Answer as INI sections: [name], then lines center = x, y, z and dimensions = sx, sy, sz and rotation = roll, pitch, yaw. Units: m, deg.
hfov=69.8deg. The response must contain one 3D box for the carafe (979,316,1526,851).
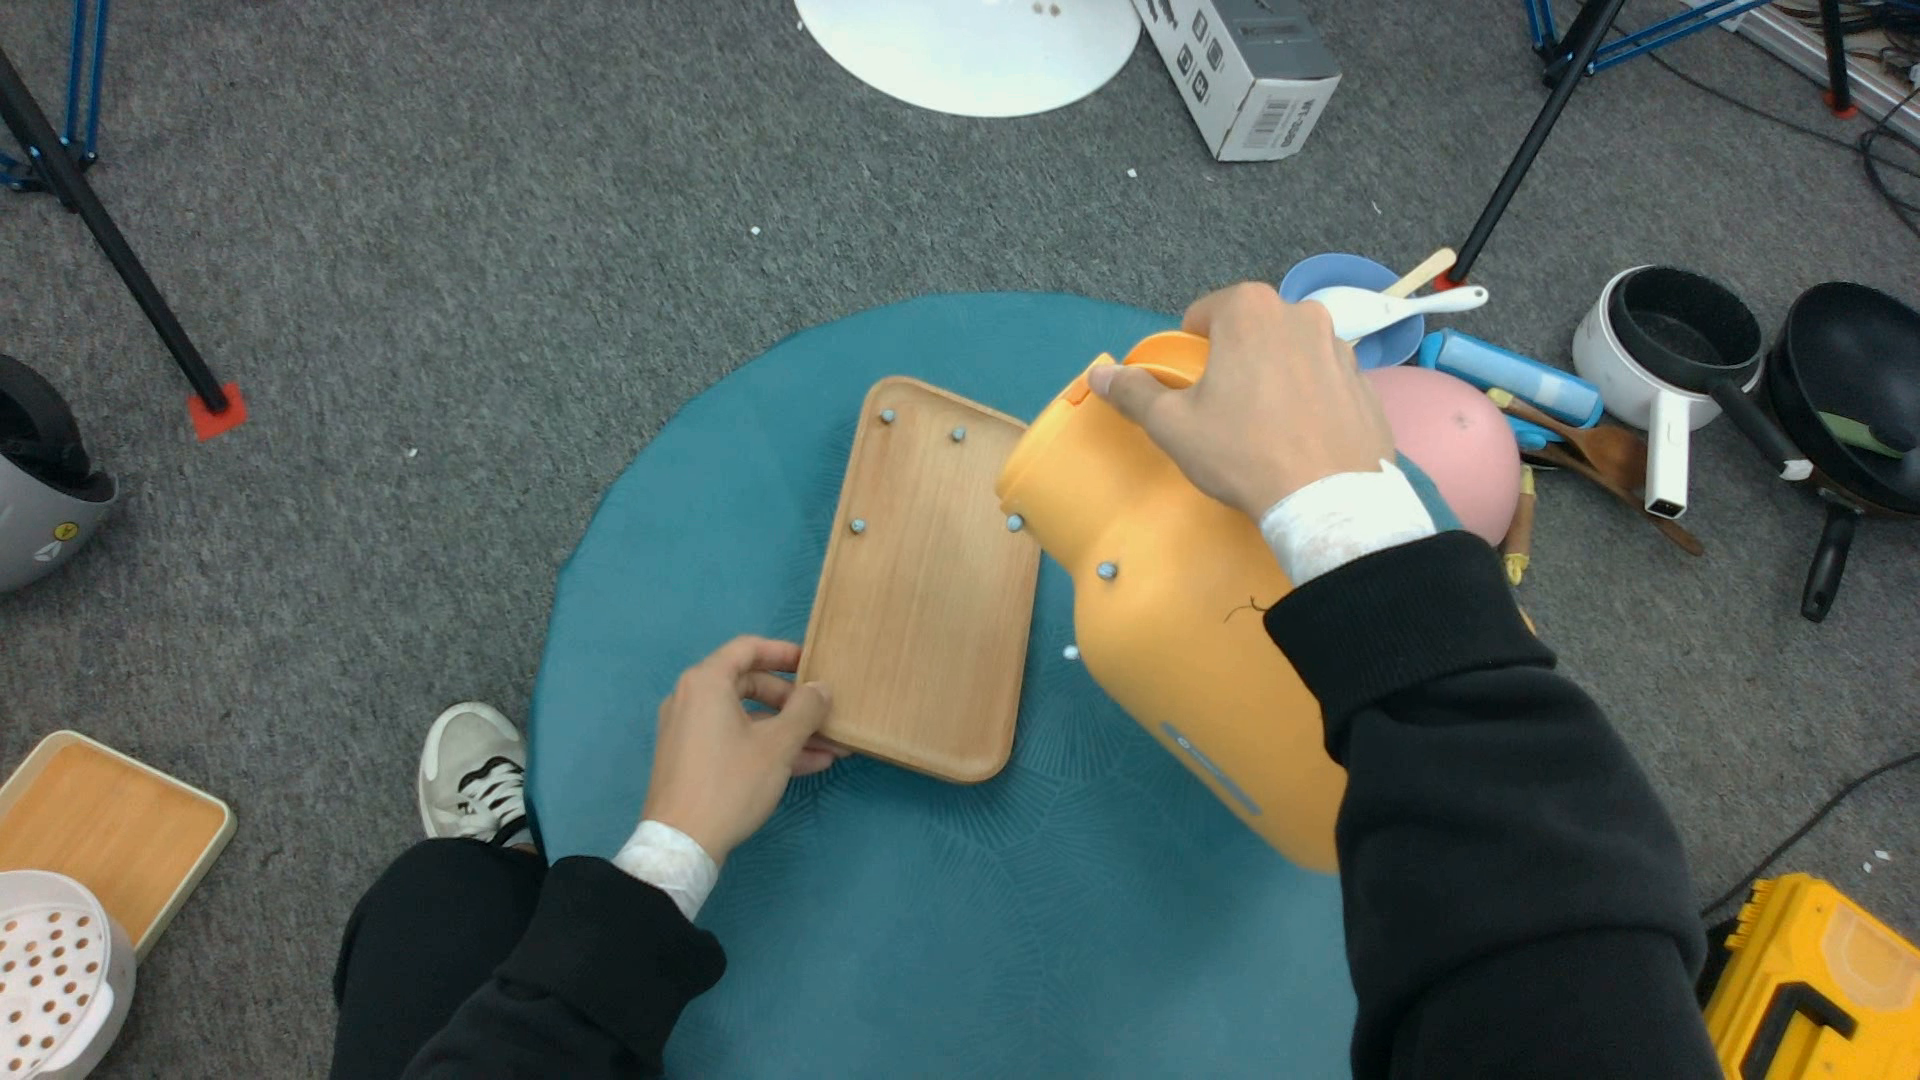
[carafe]
center = 0.133, 0.010, 0.654
dimensions = 0.260, 0.201, 0.164
rotation = 40, 65, 6

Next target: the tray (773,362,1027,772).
[tray]
center = -0.026, 0.009, 0.797
dimensions = 0.130, 0.023, 0.252
rotation = 19, 56, -13
